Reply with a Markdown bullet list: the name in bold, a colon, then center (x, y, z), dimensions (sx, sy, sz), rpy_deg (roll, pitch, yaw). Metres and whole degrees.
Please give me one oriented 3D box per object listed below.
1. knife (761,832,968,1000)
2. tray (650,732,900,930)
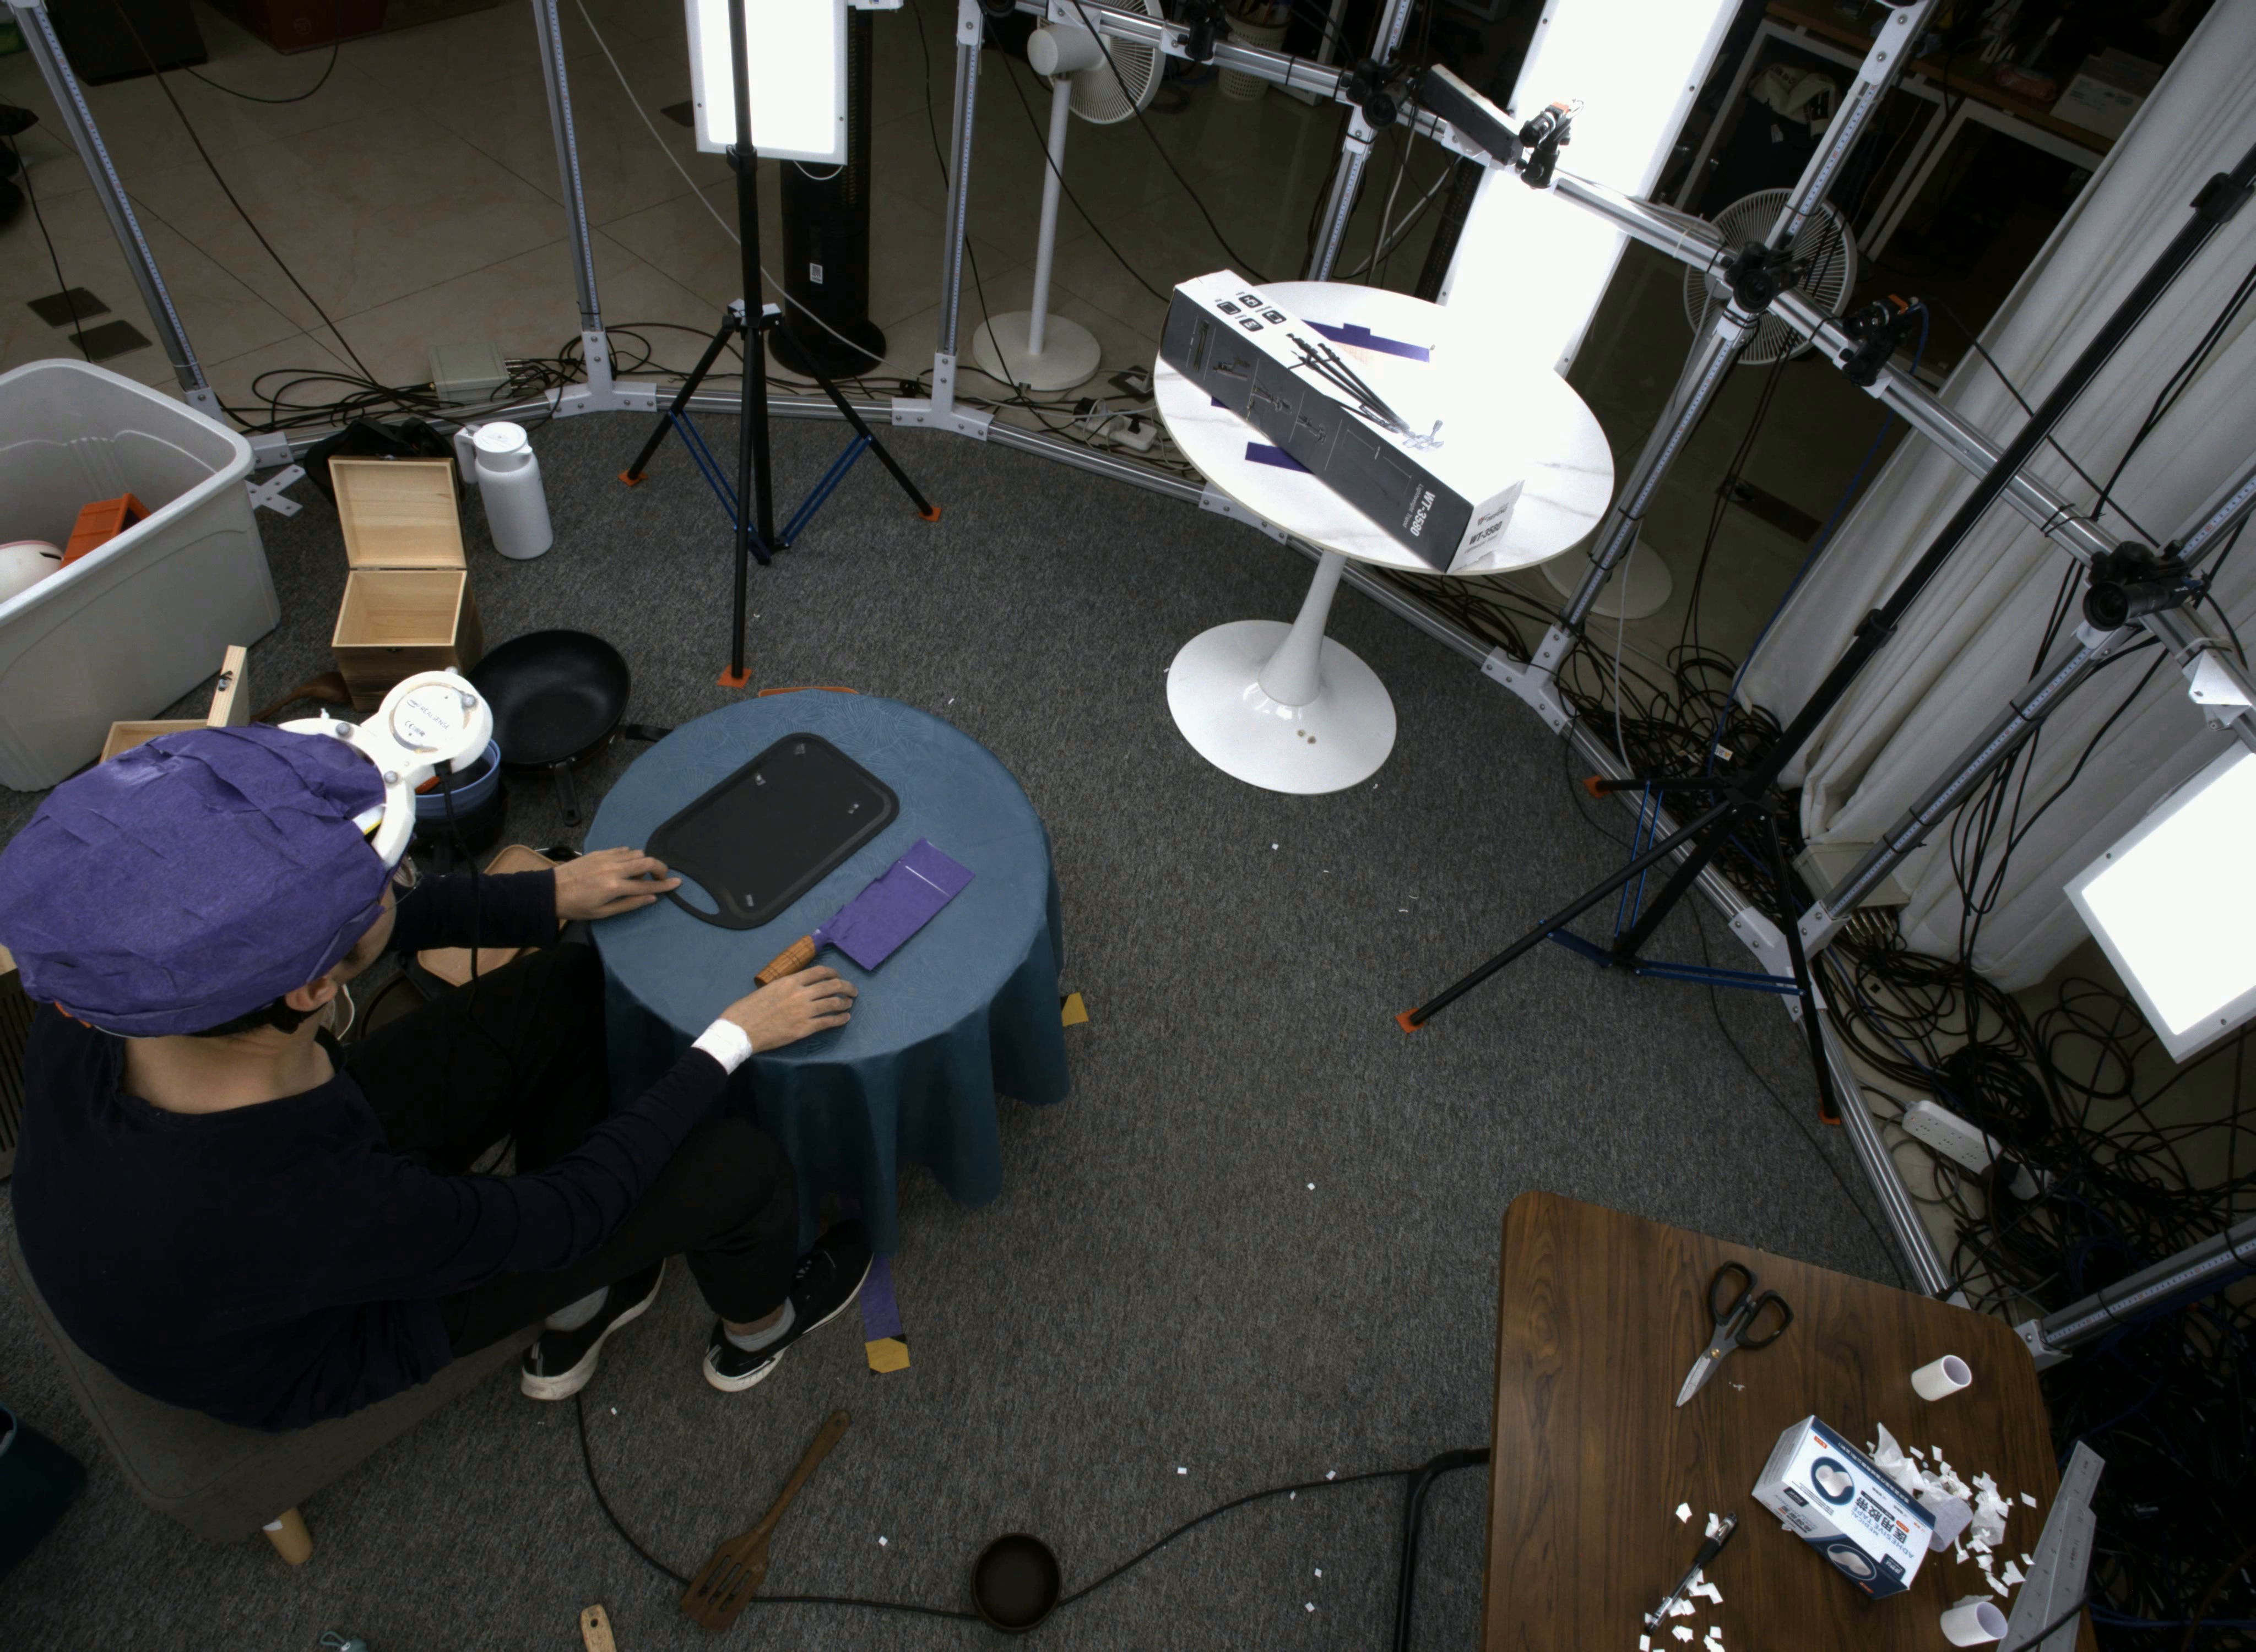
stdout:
- **knife**: center (-0.325, 0.121, 1.653), dimensions (0.102, 0.033, 0.315), rpy_deg (34, 53, 12)
- **tray**: center (-0.470, 0.003, 1.717), dimensions (0.207, 0.010, 0.325), rpy_deg (36, 54, 13)
